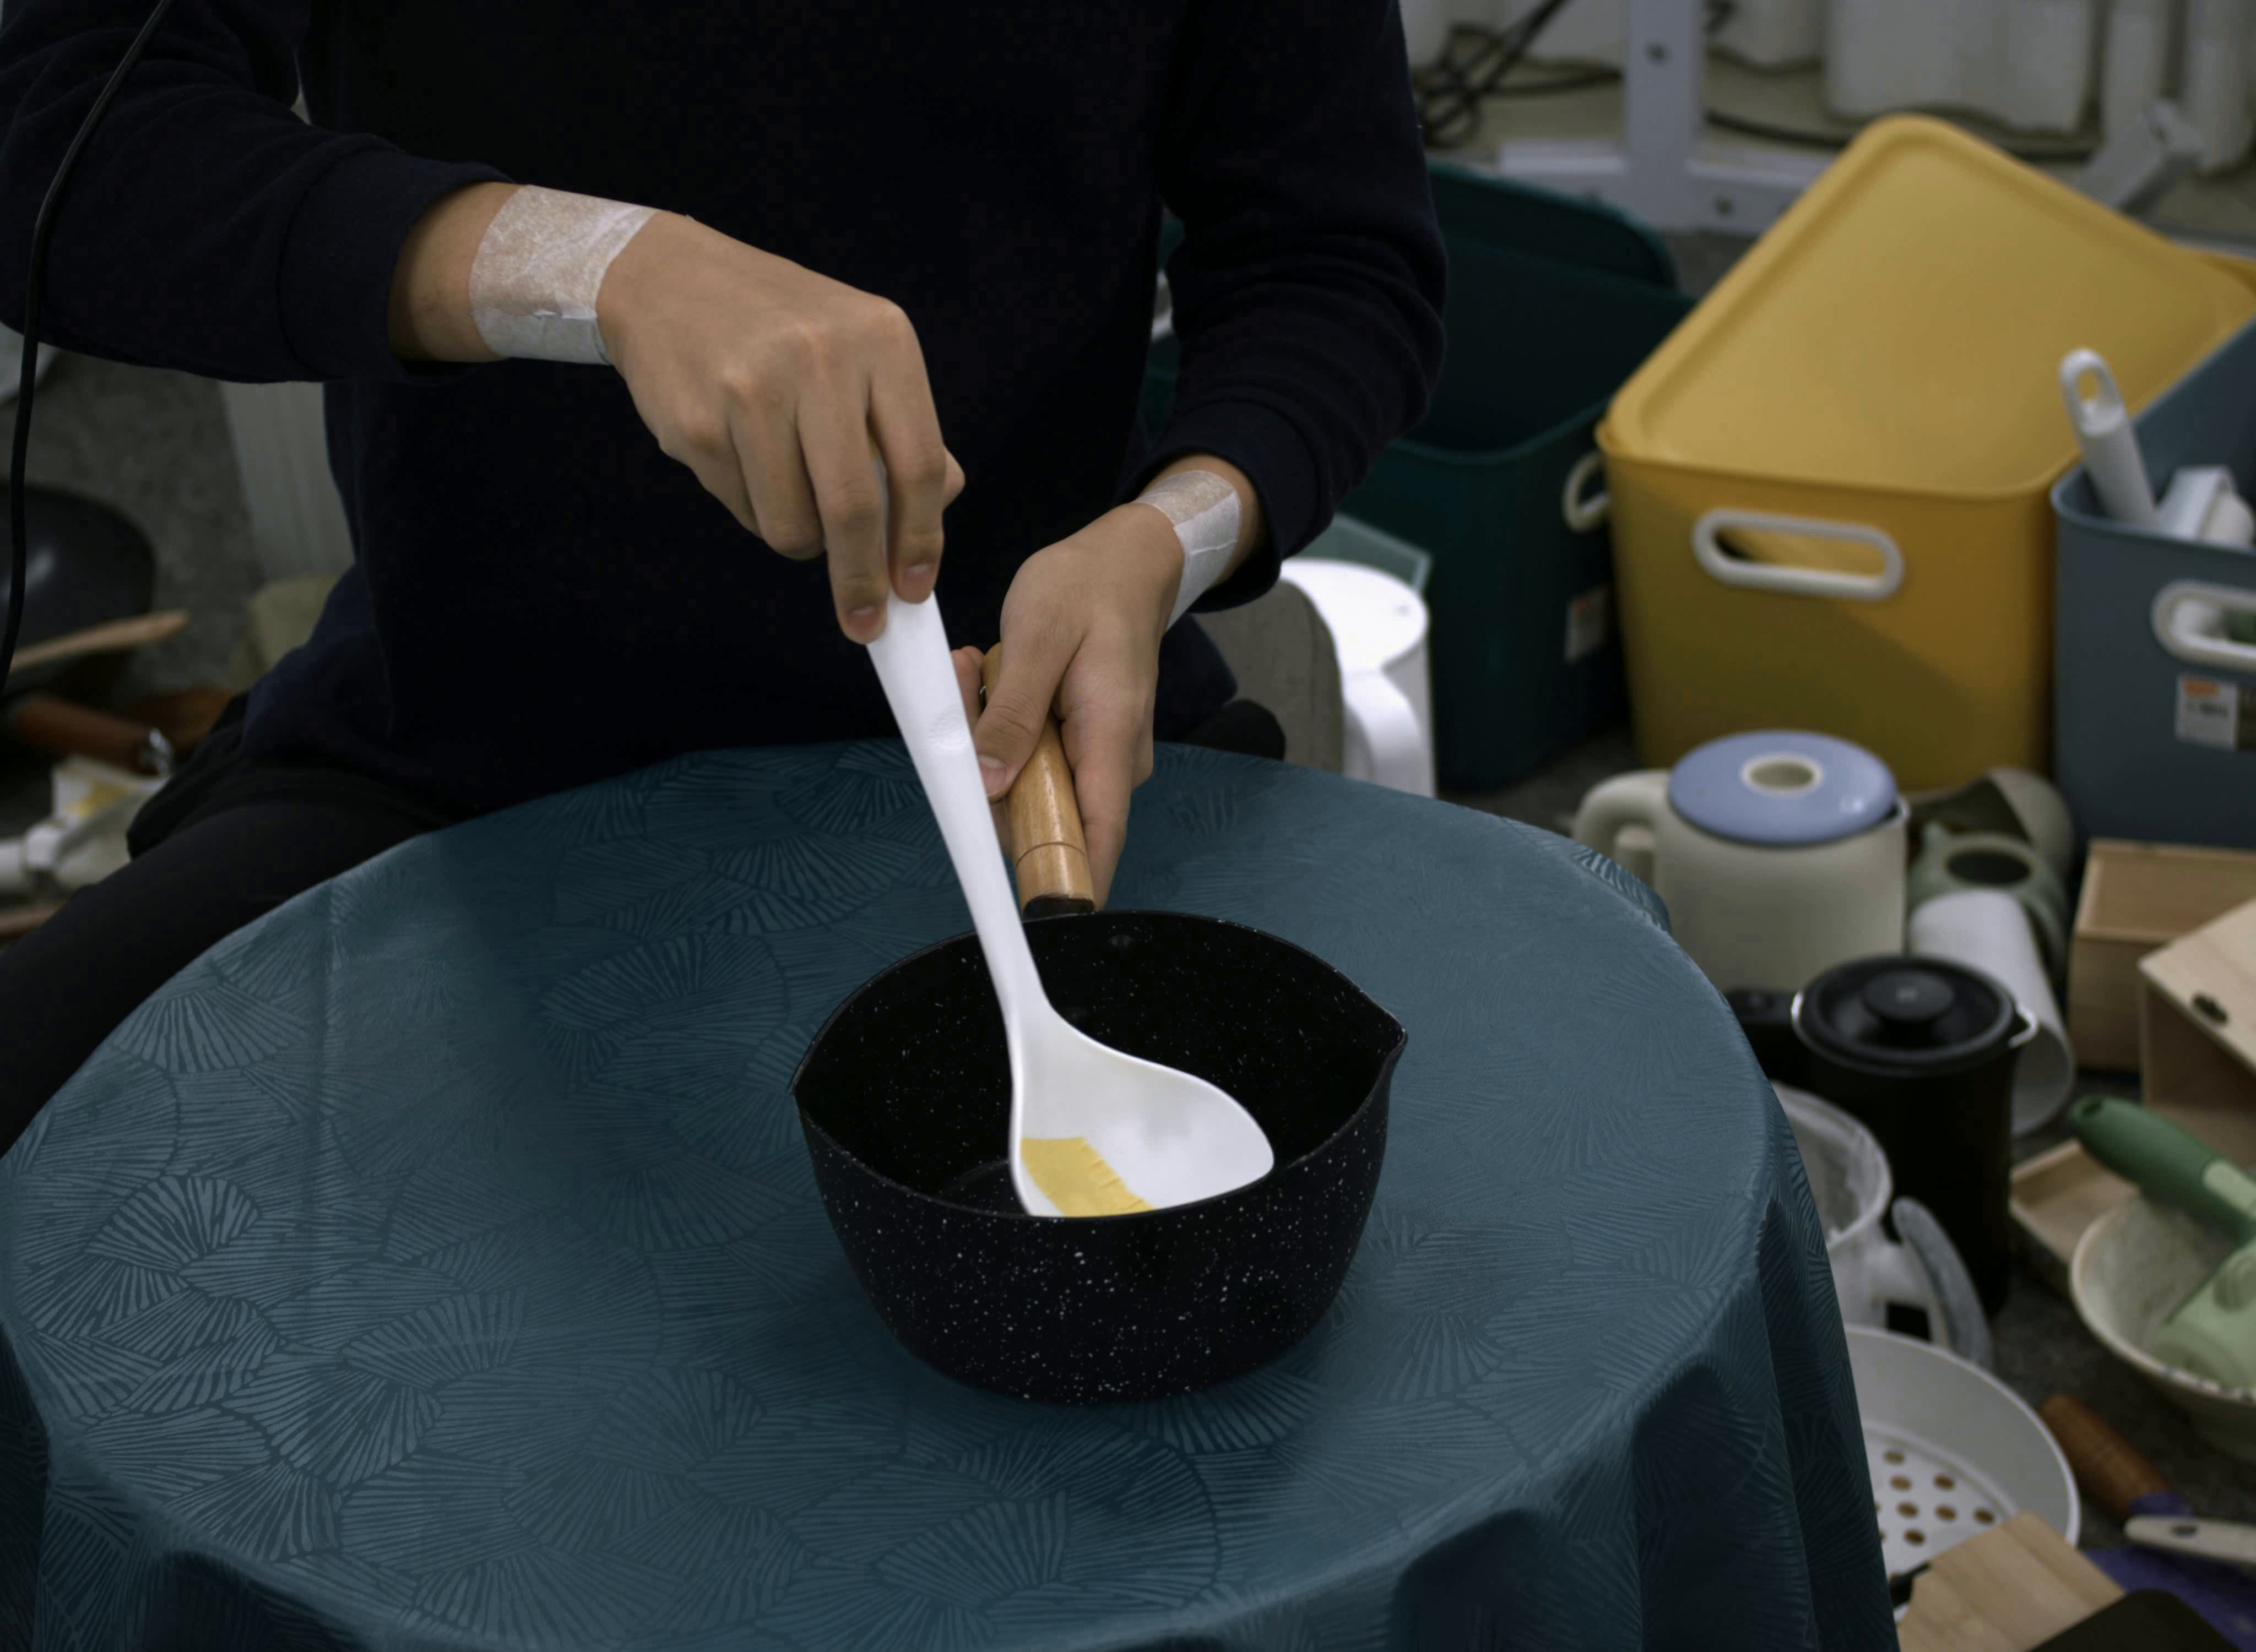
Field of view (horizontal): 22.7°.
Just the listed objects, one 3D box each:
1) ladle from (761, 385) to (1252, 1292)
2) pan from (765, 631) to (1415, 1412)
[{"bbox_3d":[-0.044,0.003,1.743,0.091,0.293,0.069,-22,6,-27],"label":"ladle"},{"bbox_3d":[-0.020,0.061,1.858,0.207,0.107,0.347,-7,30,-5],"label":"pan"}]
